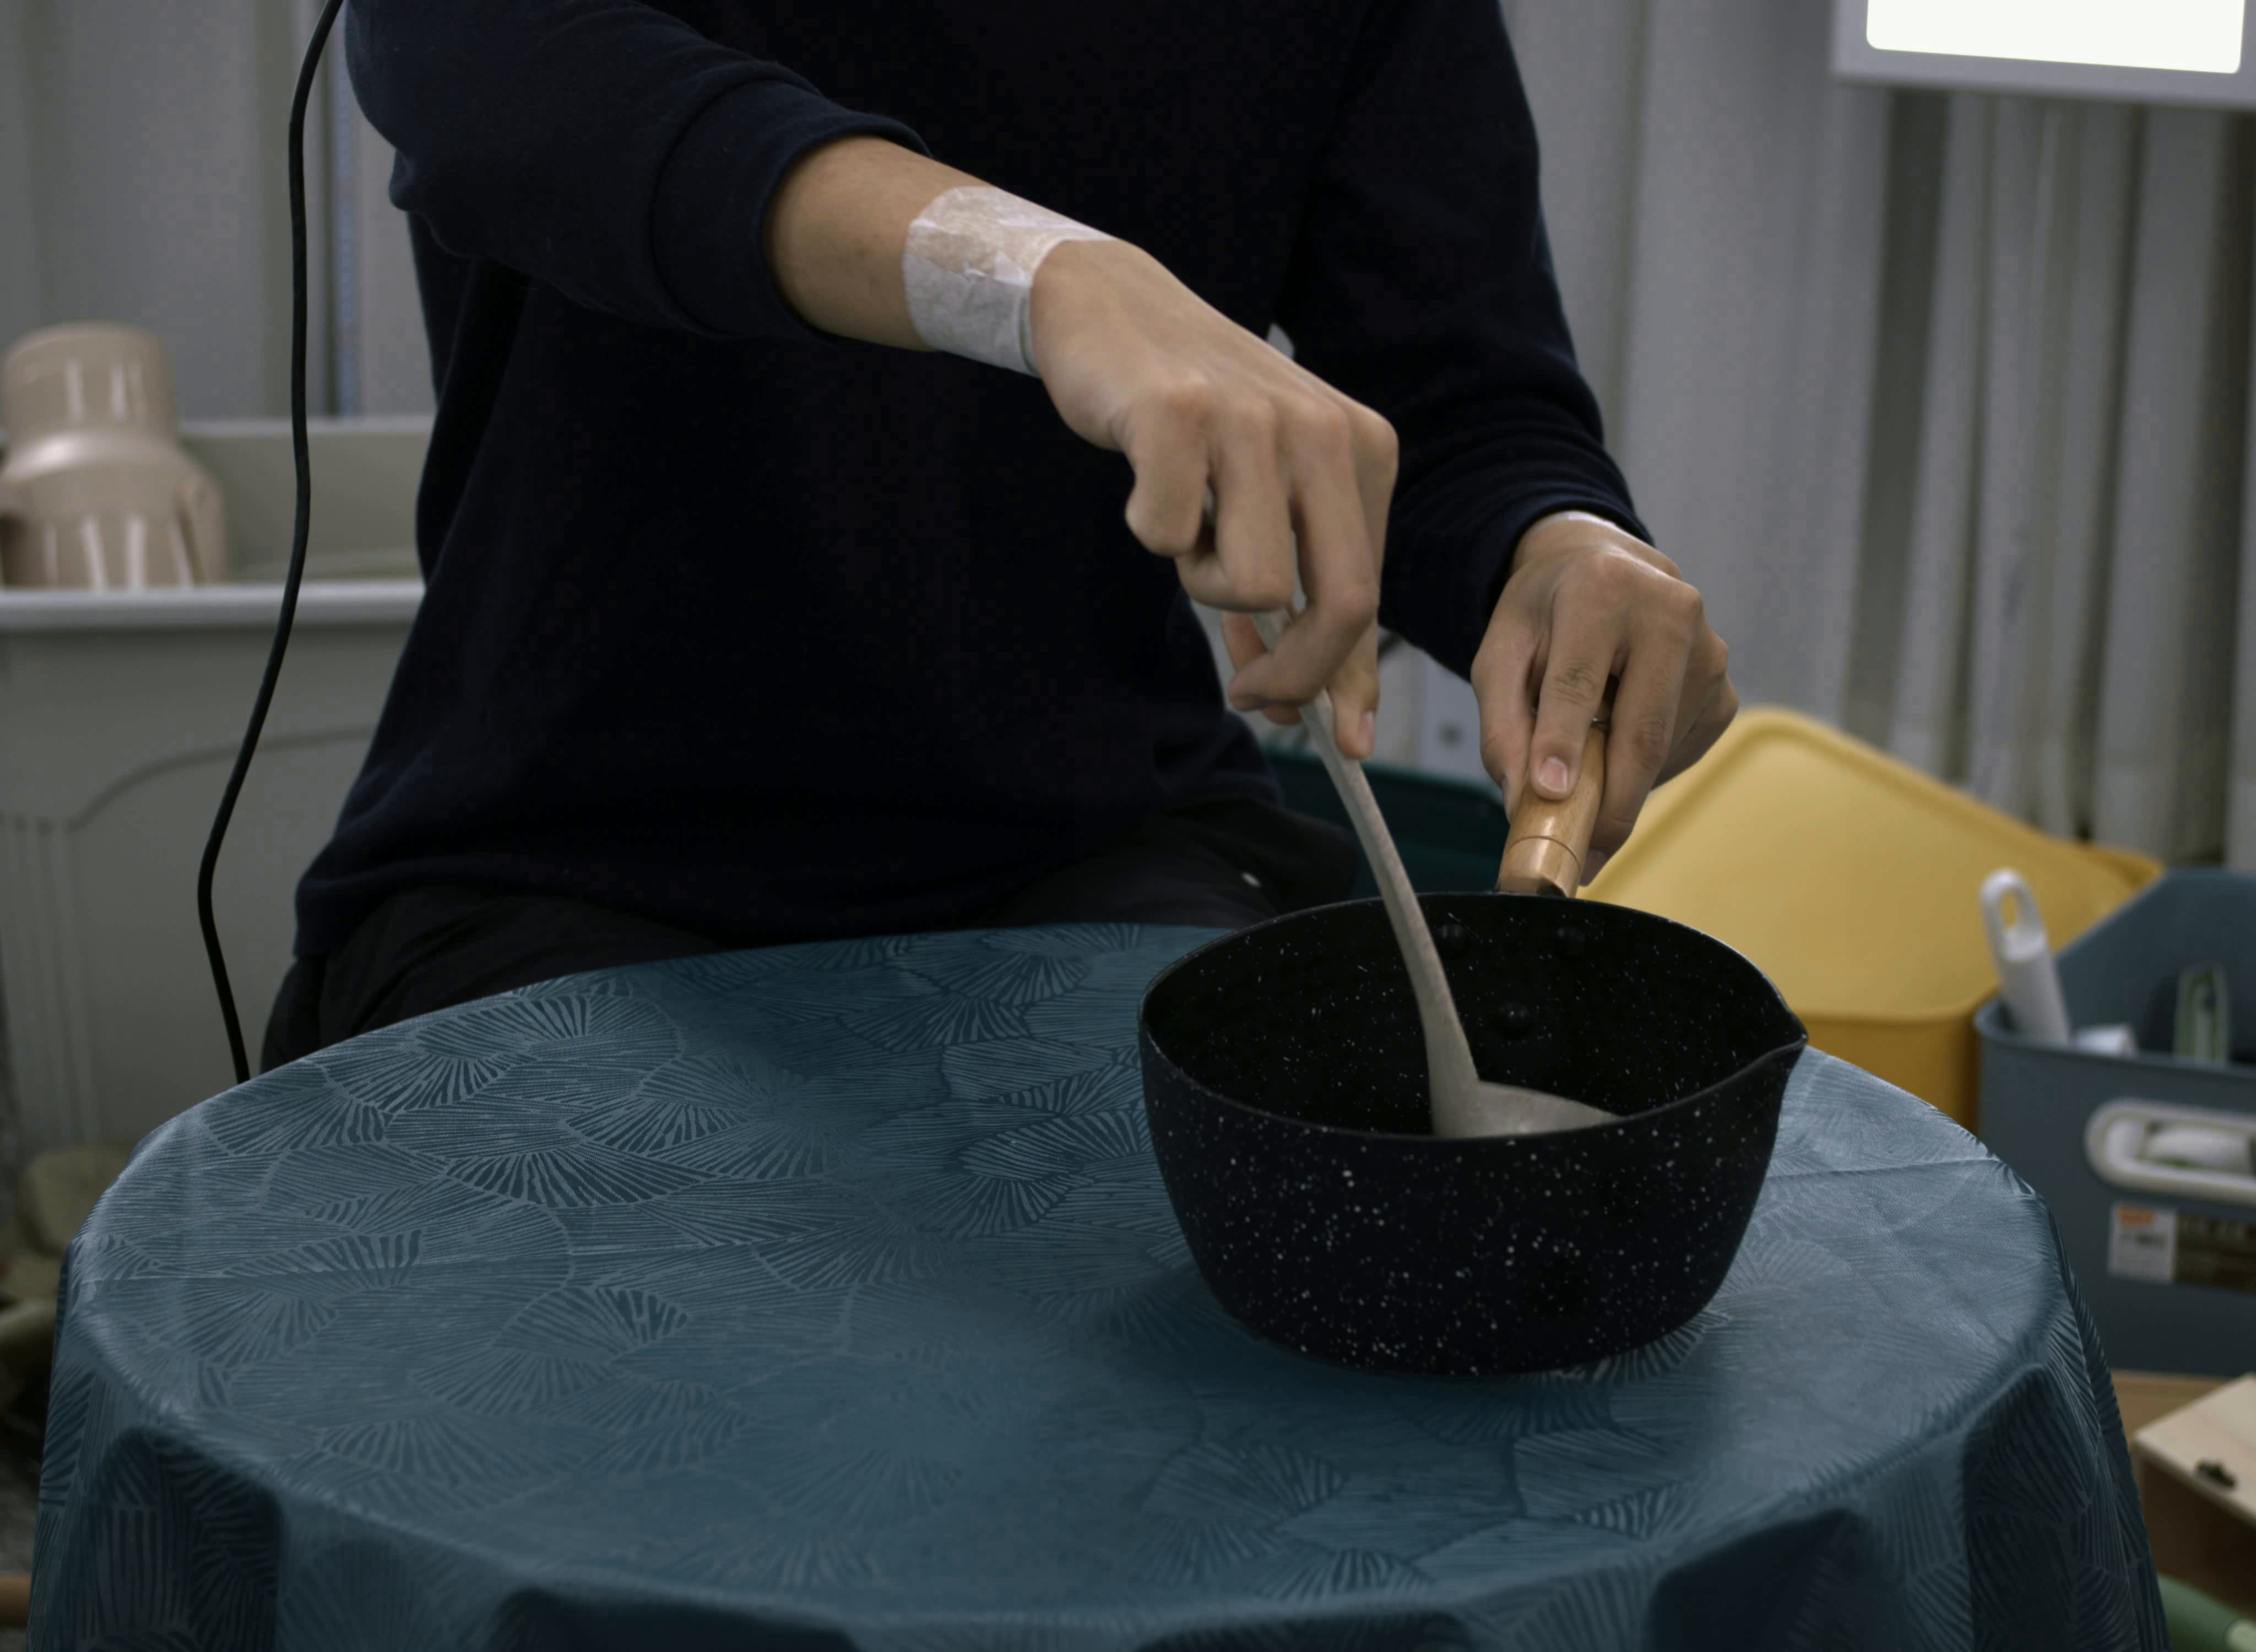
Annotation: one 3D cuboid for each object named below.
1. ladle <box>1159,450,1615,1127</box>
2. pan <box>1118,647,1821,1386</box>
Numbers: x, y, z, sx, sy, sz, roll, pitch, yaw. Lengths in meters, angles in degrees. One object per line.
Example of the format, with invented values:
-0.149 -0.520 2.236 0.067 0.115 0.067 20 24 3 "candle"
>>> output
0.088 -0.001 1.491 0.069 0.278 0.088 -27 26 -7 "ladle"
0.113 0.052 1.592 0.206 0.109 0.341 2 22 12 "pan"
